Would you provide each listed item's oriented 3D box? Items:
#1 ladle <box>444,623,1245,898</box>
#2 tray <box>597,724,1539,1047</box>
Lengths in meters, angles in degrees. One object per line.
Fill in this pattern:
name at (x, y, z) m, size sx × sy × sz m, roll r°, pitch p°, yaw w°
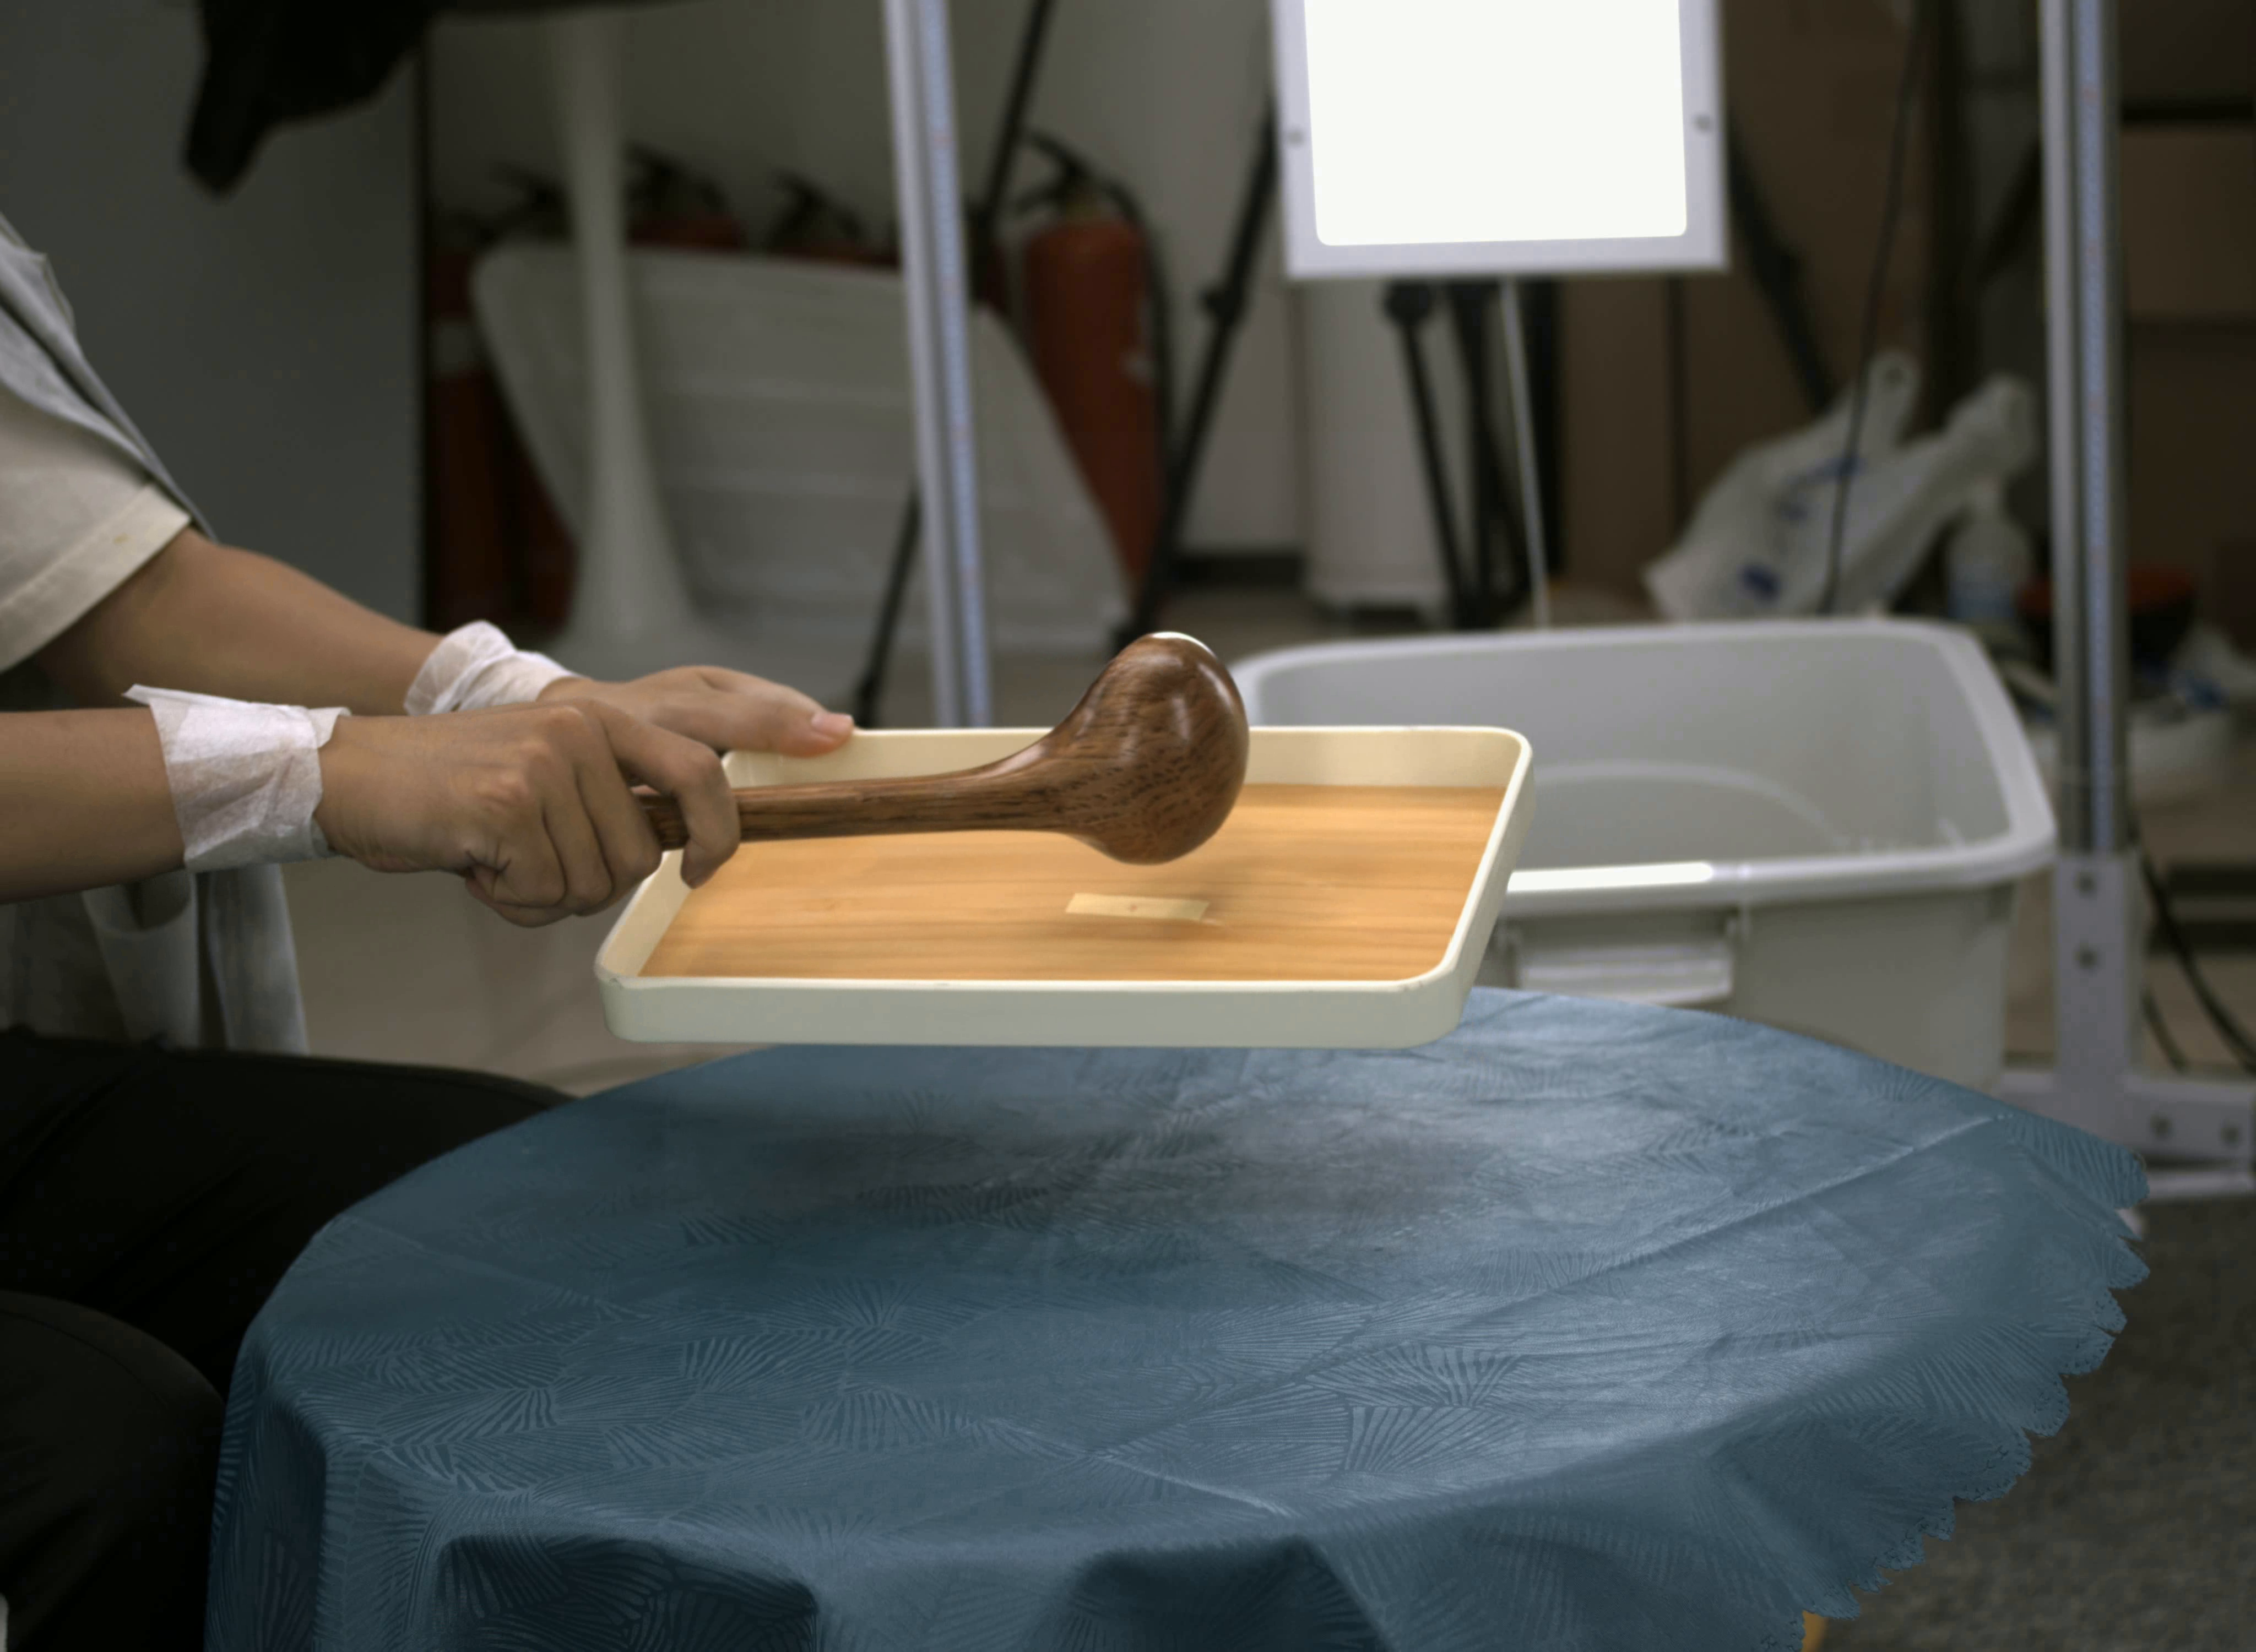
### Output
ladle at (-0.095, -0.016, 1.879) m, size 0.274 × 0.082 × 0.076 m, roll -7°, pitch 16°, yaw 3°
tray at (-0.018, 0.019, 1.906) m, size 0.303 × 0.027 × 0.189 m, roll 0°, pitch 28°, yaw 17°
